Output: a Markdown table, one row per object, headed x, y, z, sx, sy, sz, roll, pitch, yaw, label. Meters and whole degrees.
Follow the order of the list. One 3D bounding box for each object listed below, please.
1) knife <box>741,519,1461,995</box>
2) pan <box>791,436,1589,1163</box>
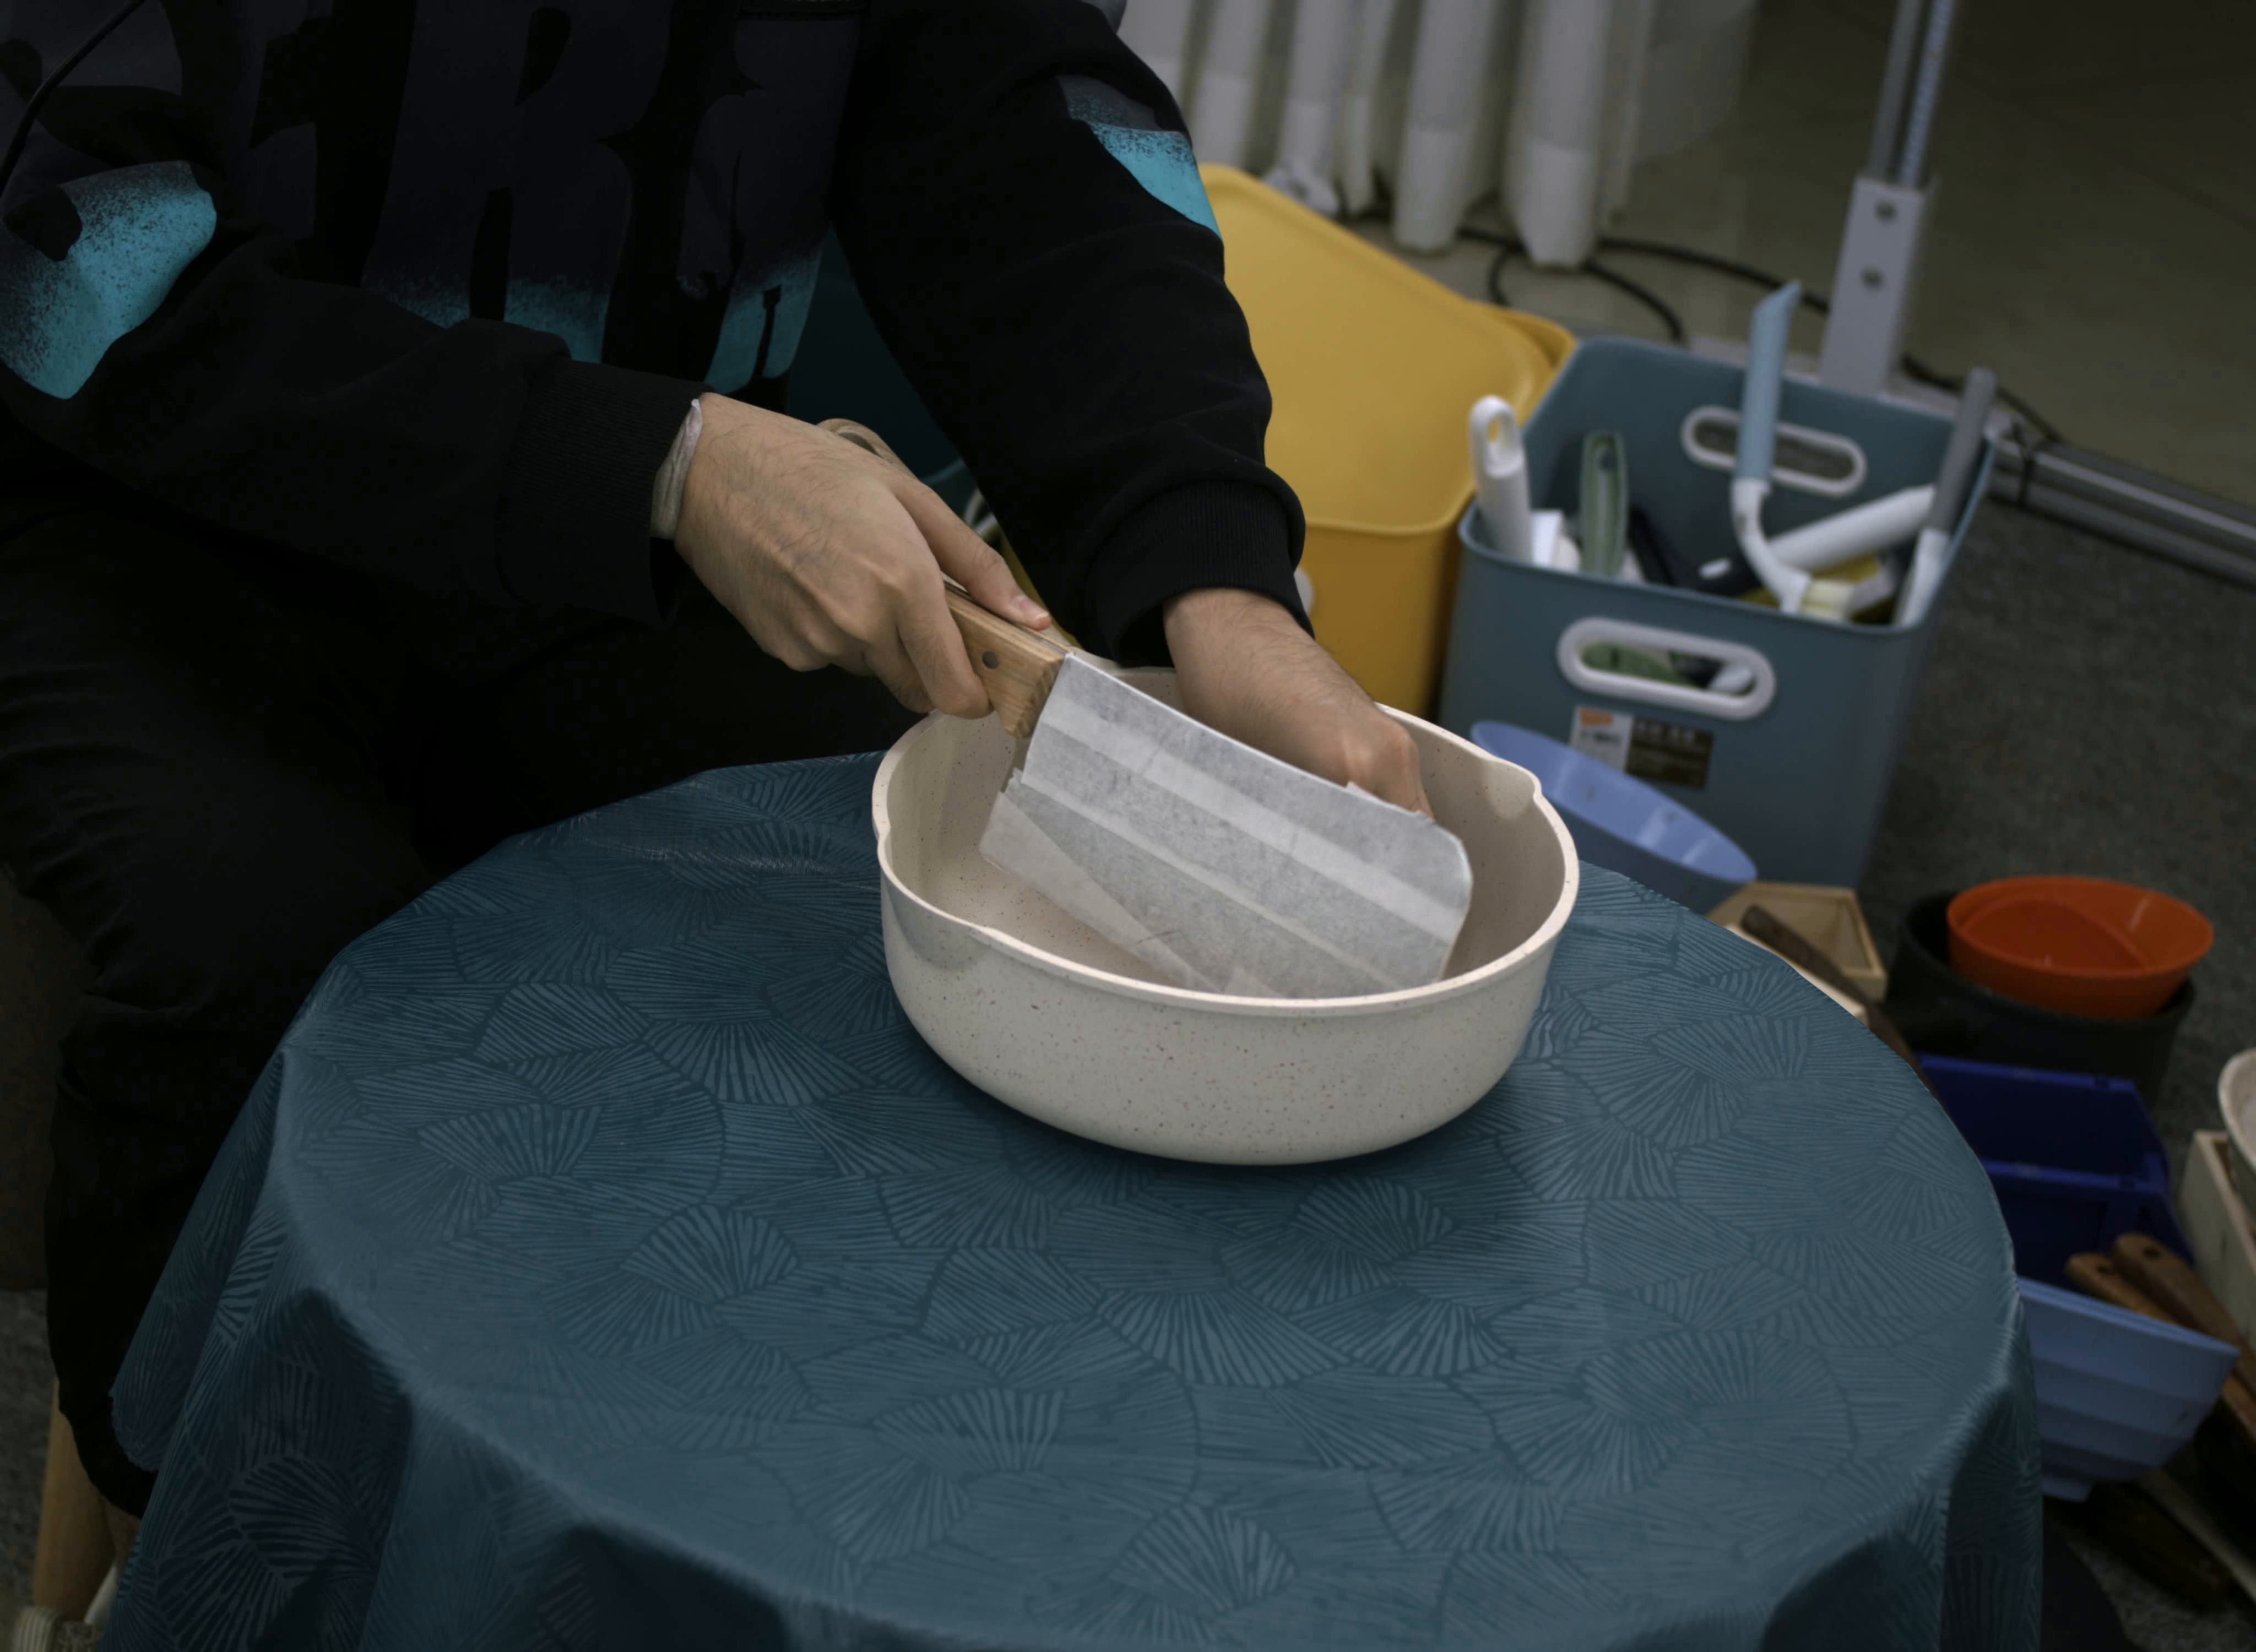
| x | y | z | sx | sy | sz | roll | pitch | yaw | label |
| --- | --- | --- | --- | --- | --- | --- | --- | --- | --- |
| -0.013 | -0.021 | 1.889 | 0.317 | 0.114 | 0.021 | 34 | 24 | 21 | knife |
| -0.012 | -0.013 | 1.958 | 0.262 | 0.101 | 0.439 | -12 | 33 | -29 | pan |
